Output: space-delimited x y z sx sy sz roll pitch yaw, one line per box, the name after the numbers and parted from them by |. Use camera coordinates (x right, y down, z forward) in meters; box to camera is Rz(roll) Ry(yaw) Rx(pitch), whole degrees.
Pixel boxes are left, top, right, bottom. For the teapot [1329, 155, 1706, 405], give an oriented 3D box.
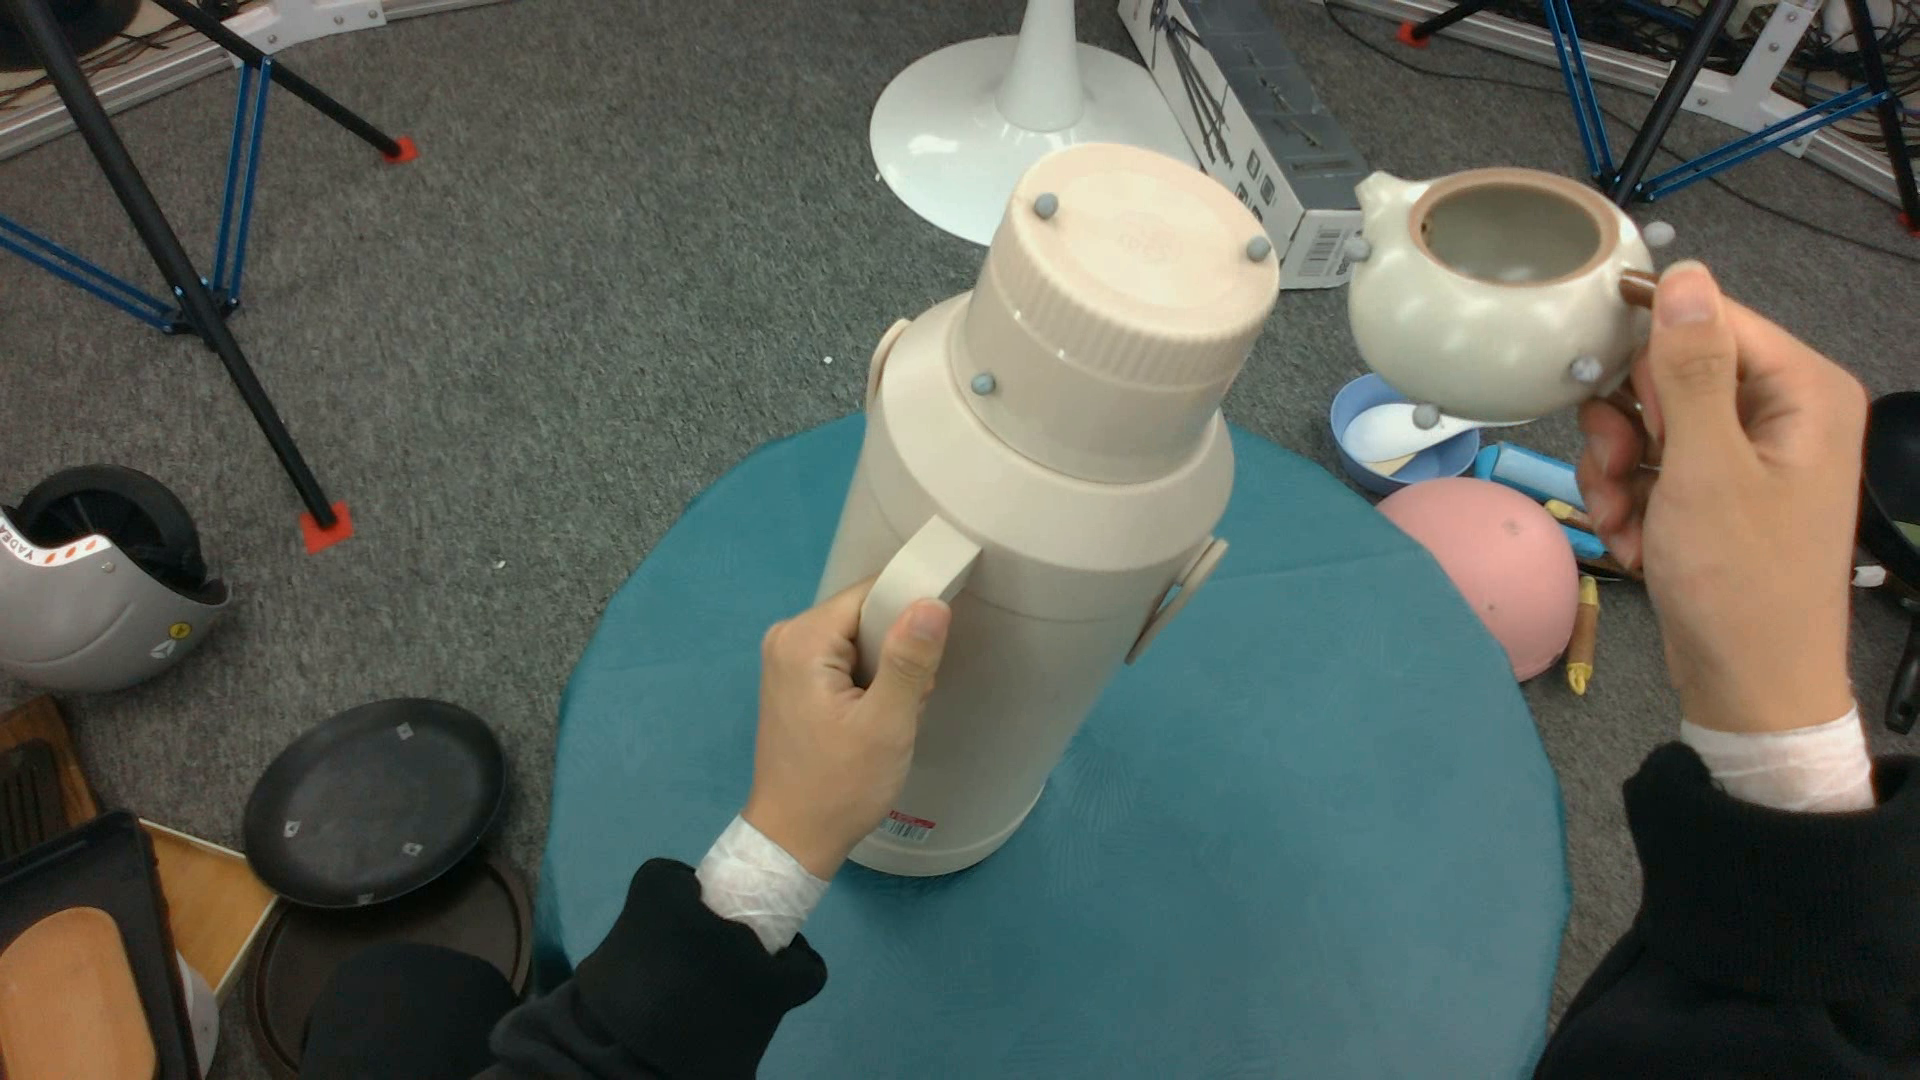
0.175 -0.081 0.445 0.128 0.059 0.092 30 57 33 | teapot

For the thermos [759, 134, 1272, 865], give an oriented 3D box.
0.005 0.009 0.647 0.175 0.404 0.208 36 50 8 | thermos
